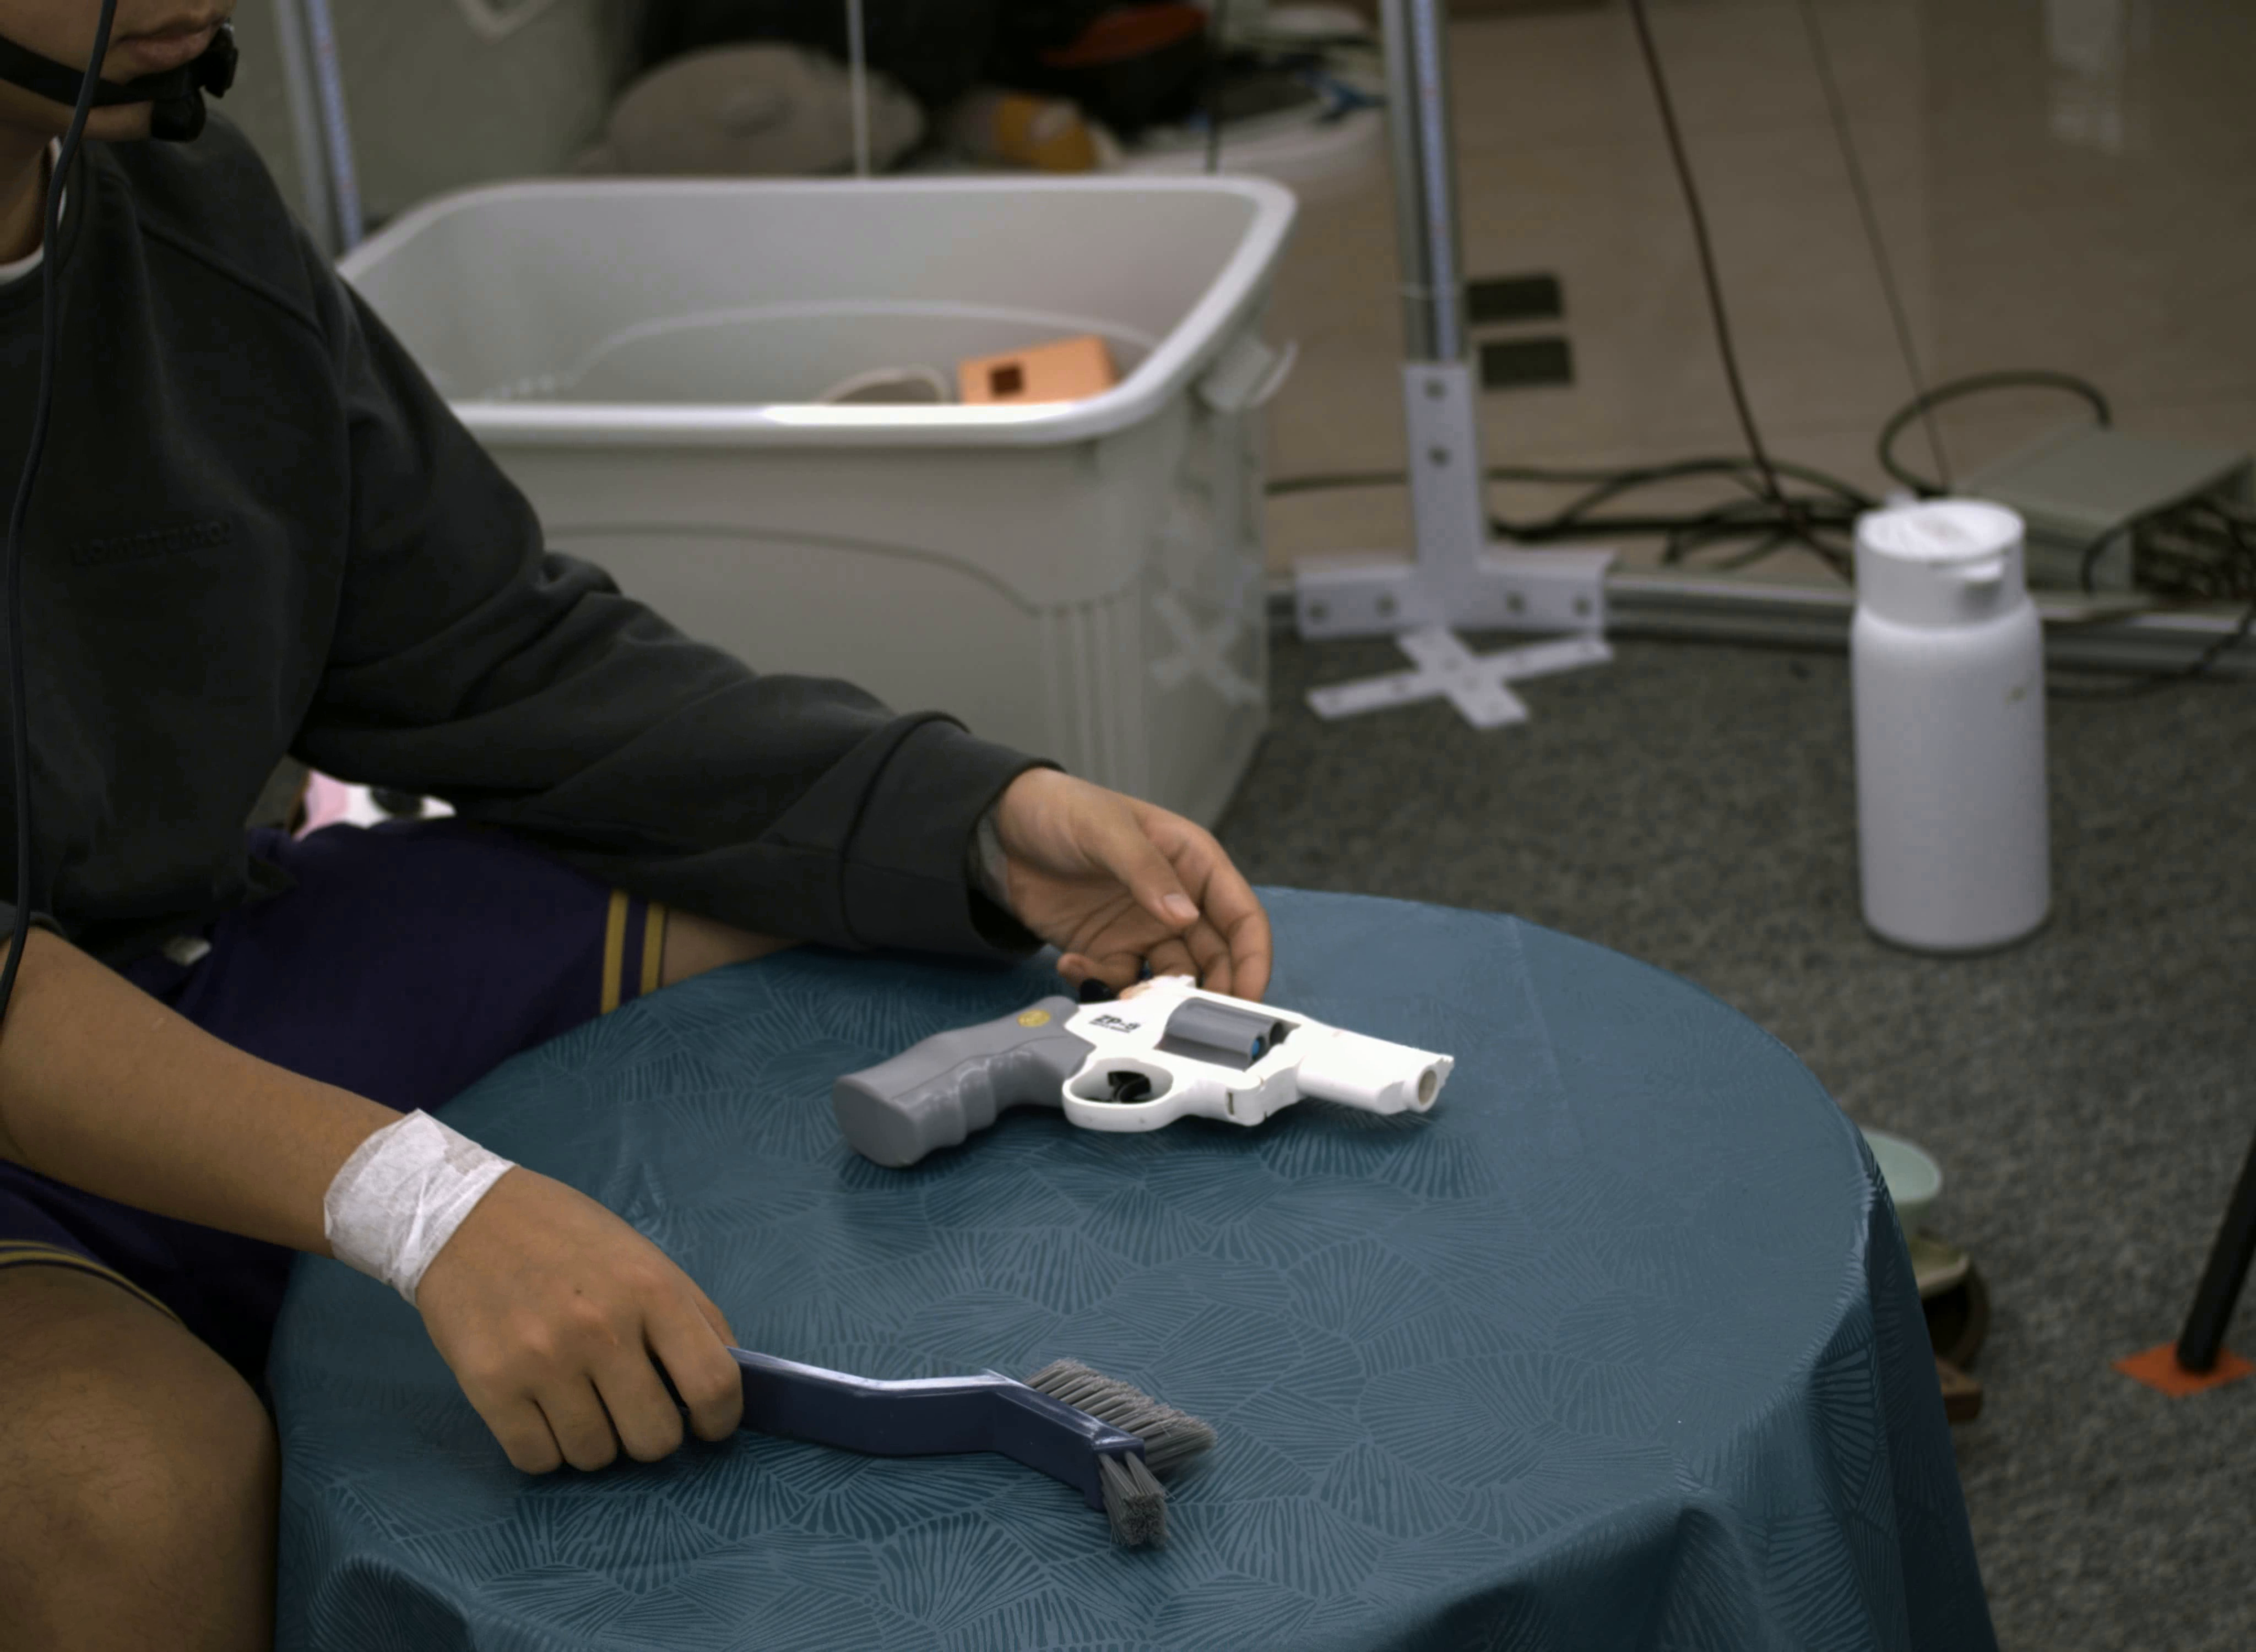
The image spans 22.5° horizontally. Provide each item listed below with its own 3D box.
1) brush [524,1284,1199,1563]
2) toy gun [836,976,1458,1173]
[{"bbox_3d":[-0.105,0.205,1.992,0.272,0.034,0.094,5,28,23],"label":"brush"},{"bbox_3d":[0.005,0.101,2.183,0.208,0.039,0.140,11,32,33],"label":"toy gun"}]
